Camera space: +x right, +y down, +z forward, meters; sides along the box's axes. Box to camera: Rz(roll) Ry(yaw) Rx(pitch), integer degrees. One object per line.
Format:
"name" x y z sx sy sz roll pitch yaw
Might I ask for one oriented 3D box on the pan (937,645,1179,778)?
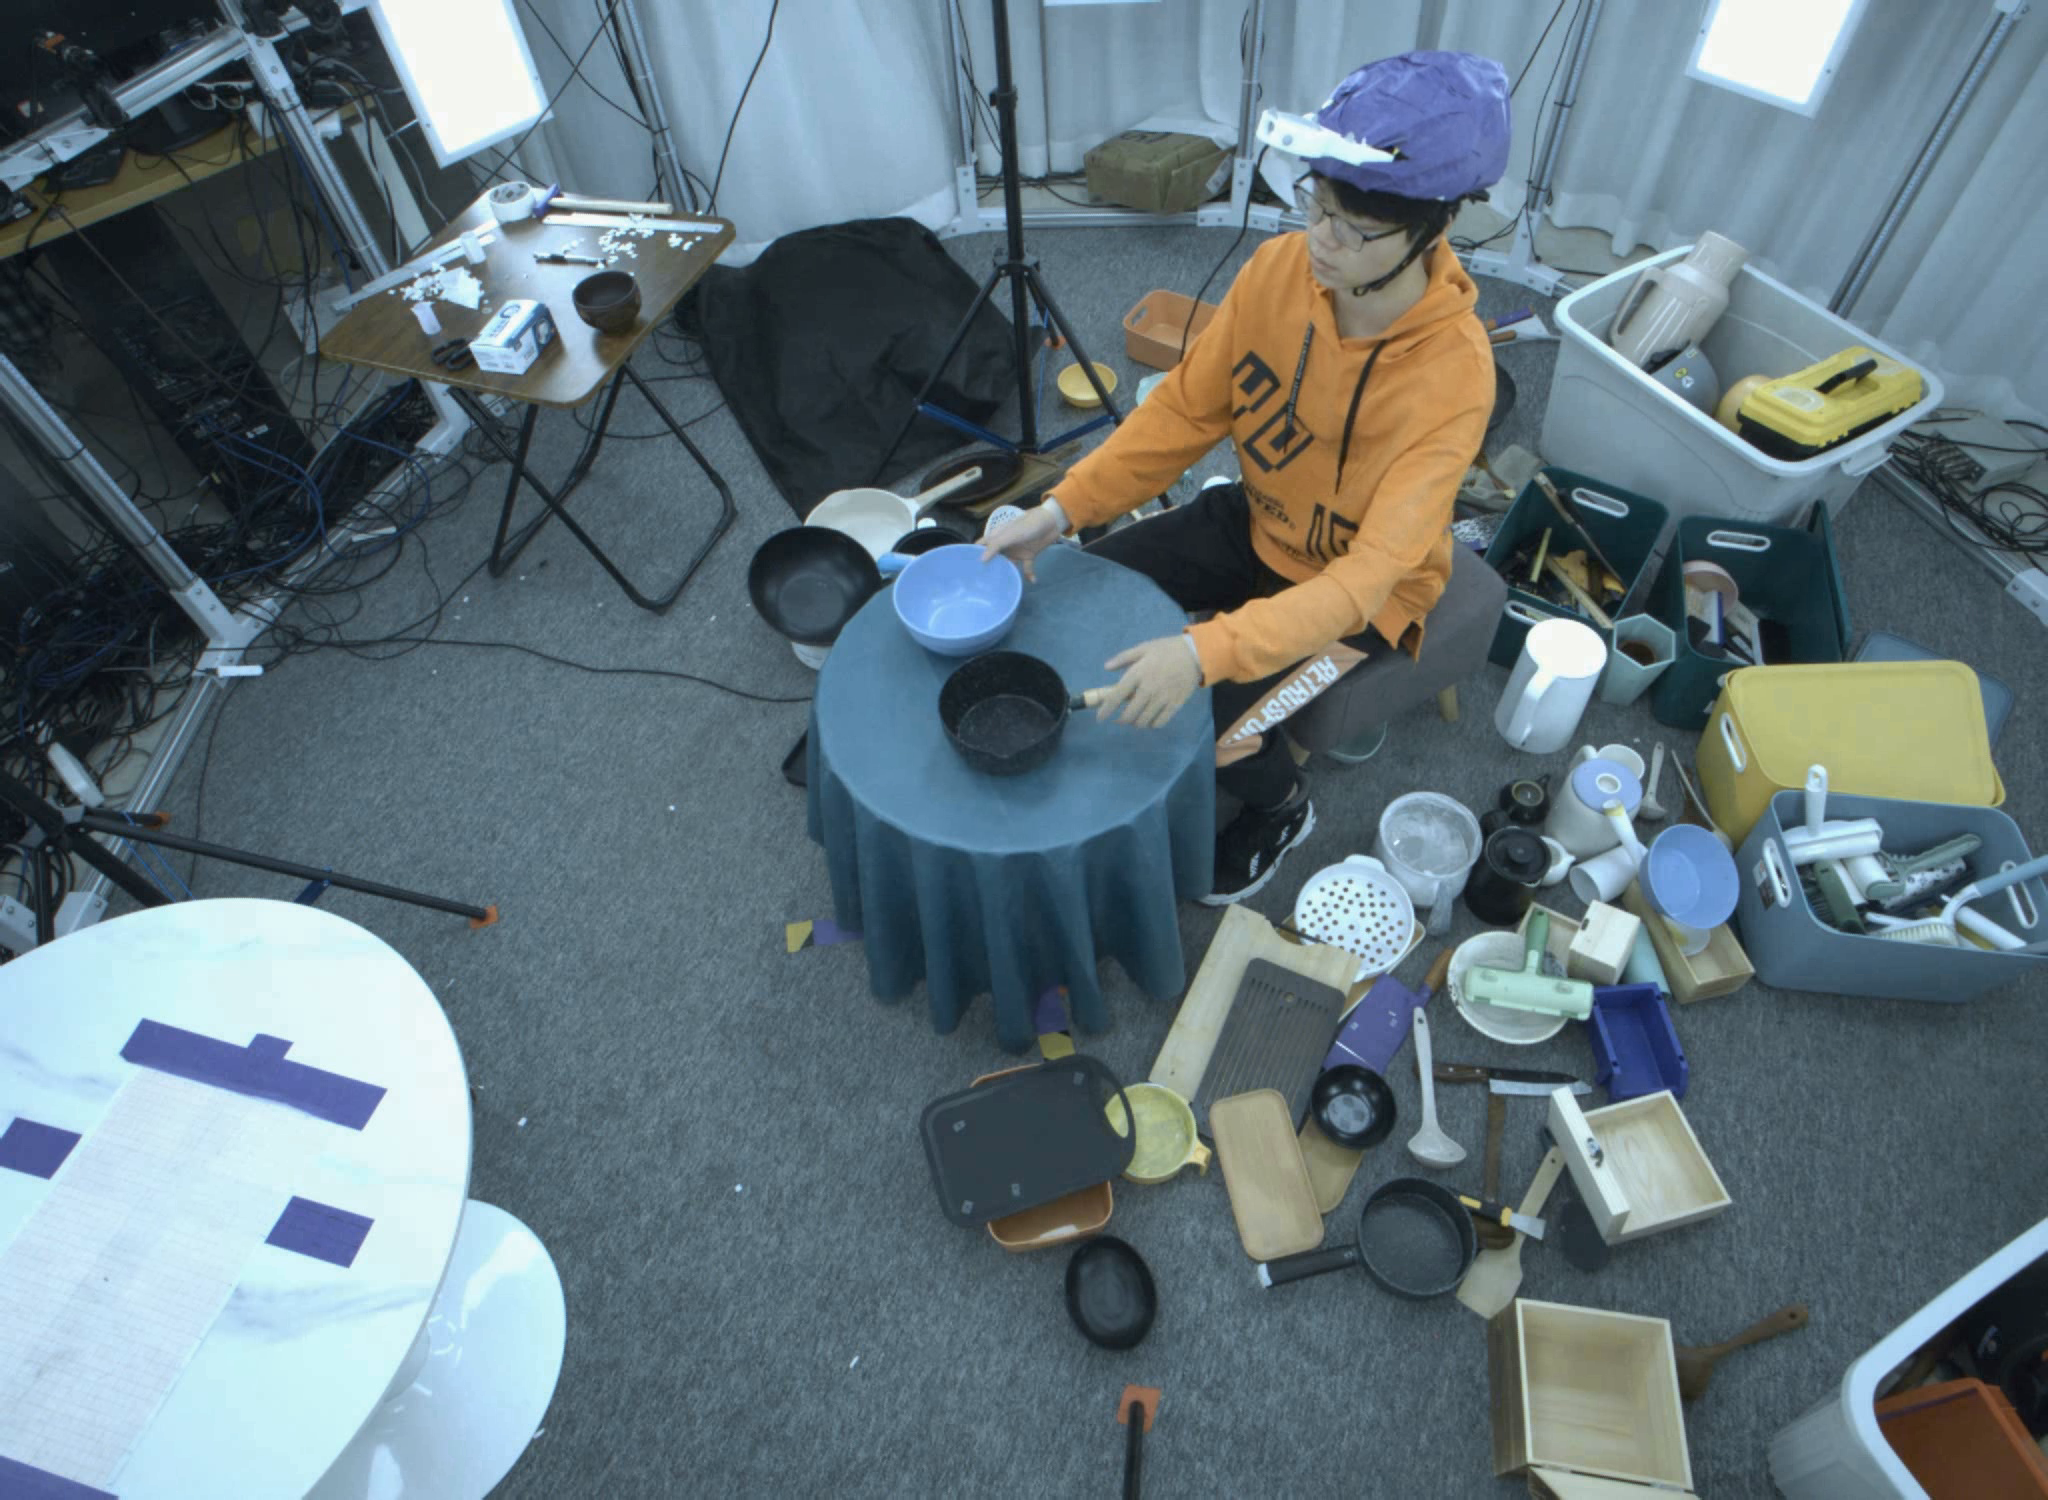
"pan" 0.050 -0.060 1.761 0.343 0.109 0.205 -6 53 0

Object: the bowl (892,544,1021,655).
"bowl" -0.099 -0.216 1.884 0.196 0.096 0.194 -1 54 3
